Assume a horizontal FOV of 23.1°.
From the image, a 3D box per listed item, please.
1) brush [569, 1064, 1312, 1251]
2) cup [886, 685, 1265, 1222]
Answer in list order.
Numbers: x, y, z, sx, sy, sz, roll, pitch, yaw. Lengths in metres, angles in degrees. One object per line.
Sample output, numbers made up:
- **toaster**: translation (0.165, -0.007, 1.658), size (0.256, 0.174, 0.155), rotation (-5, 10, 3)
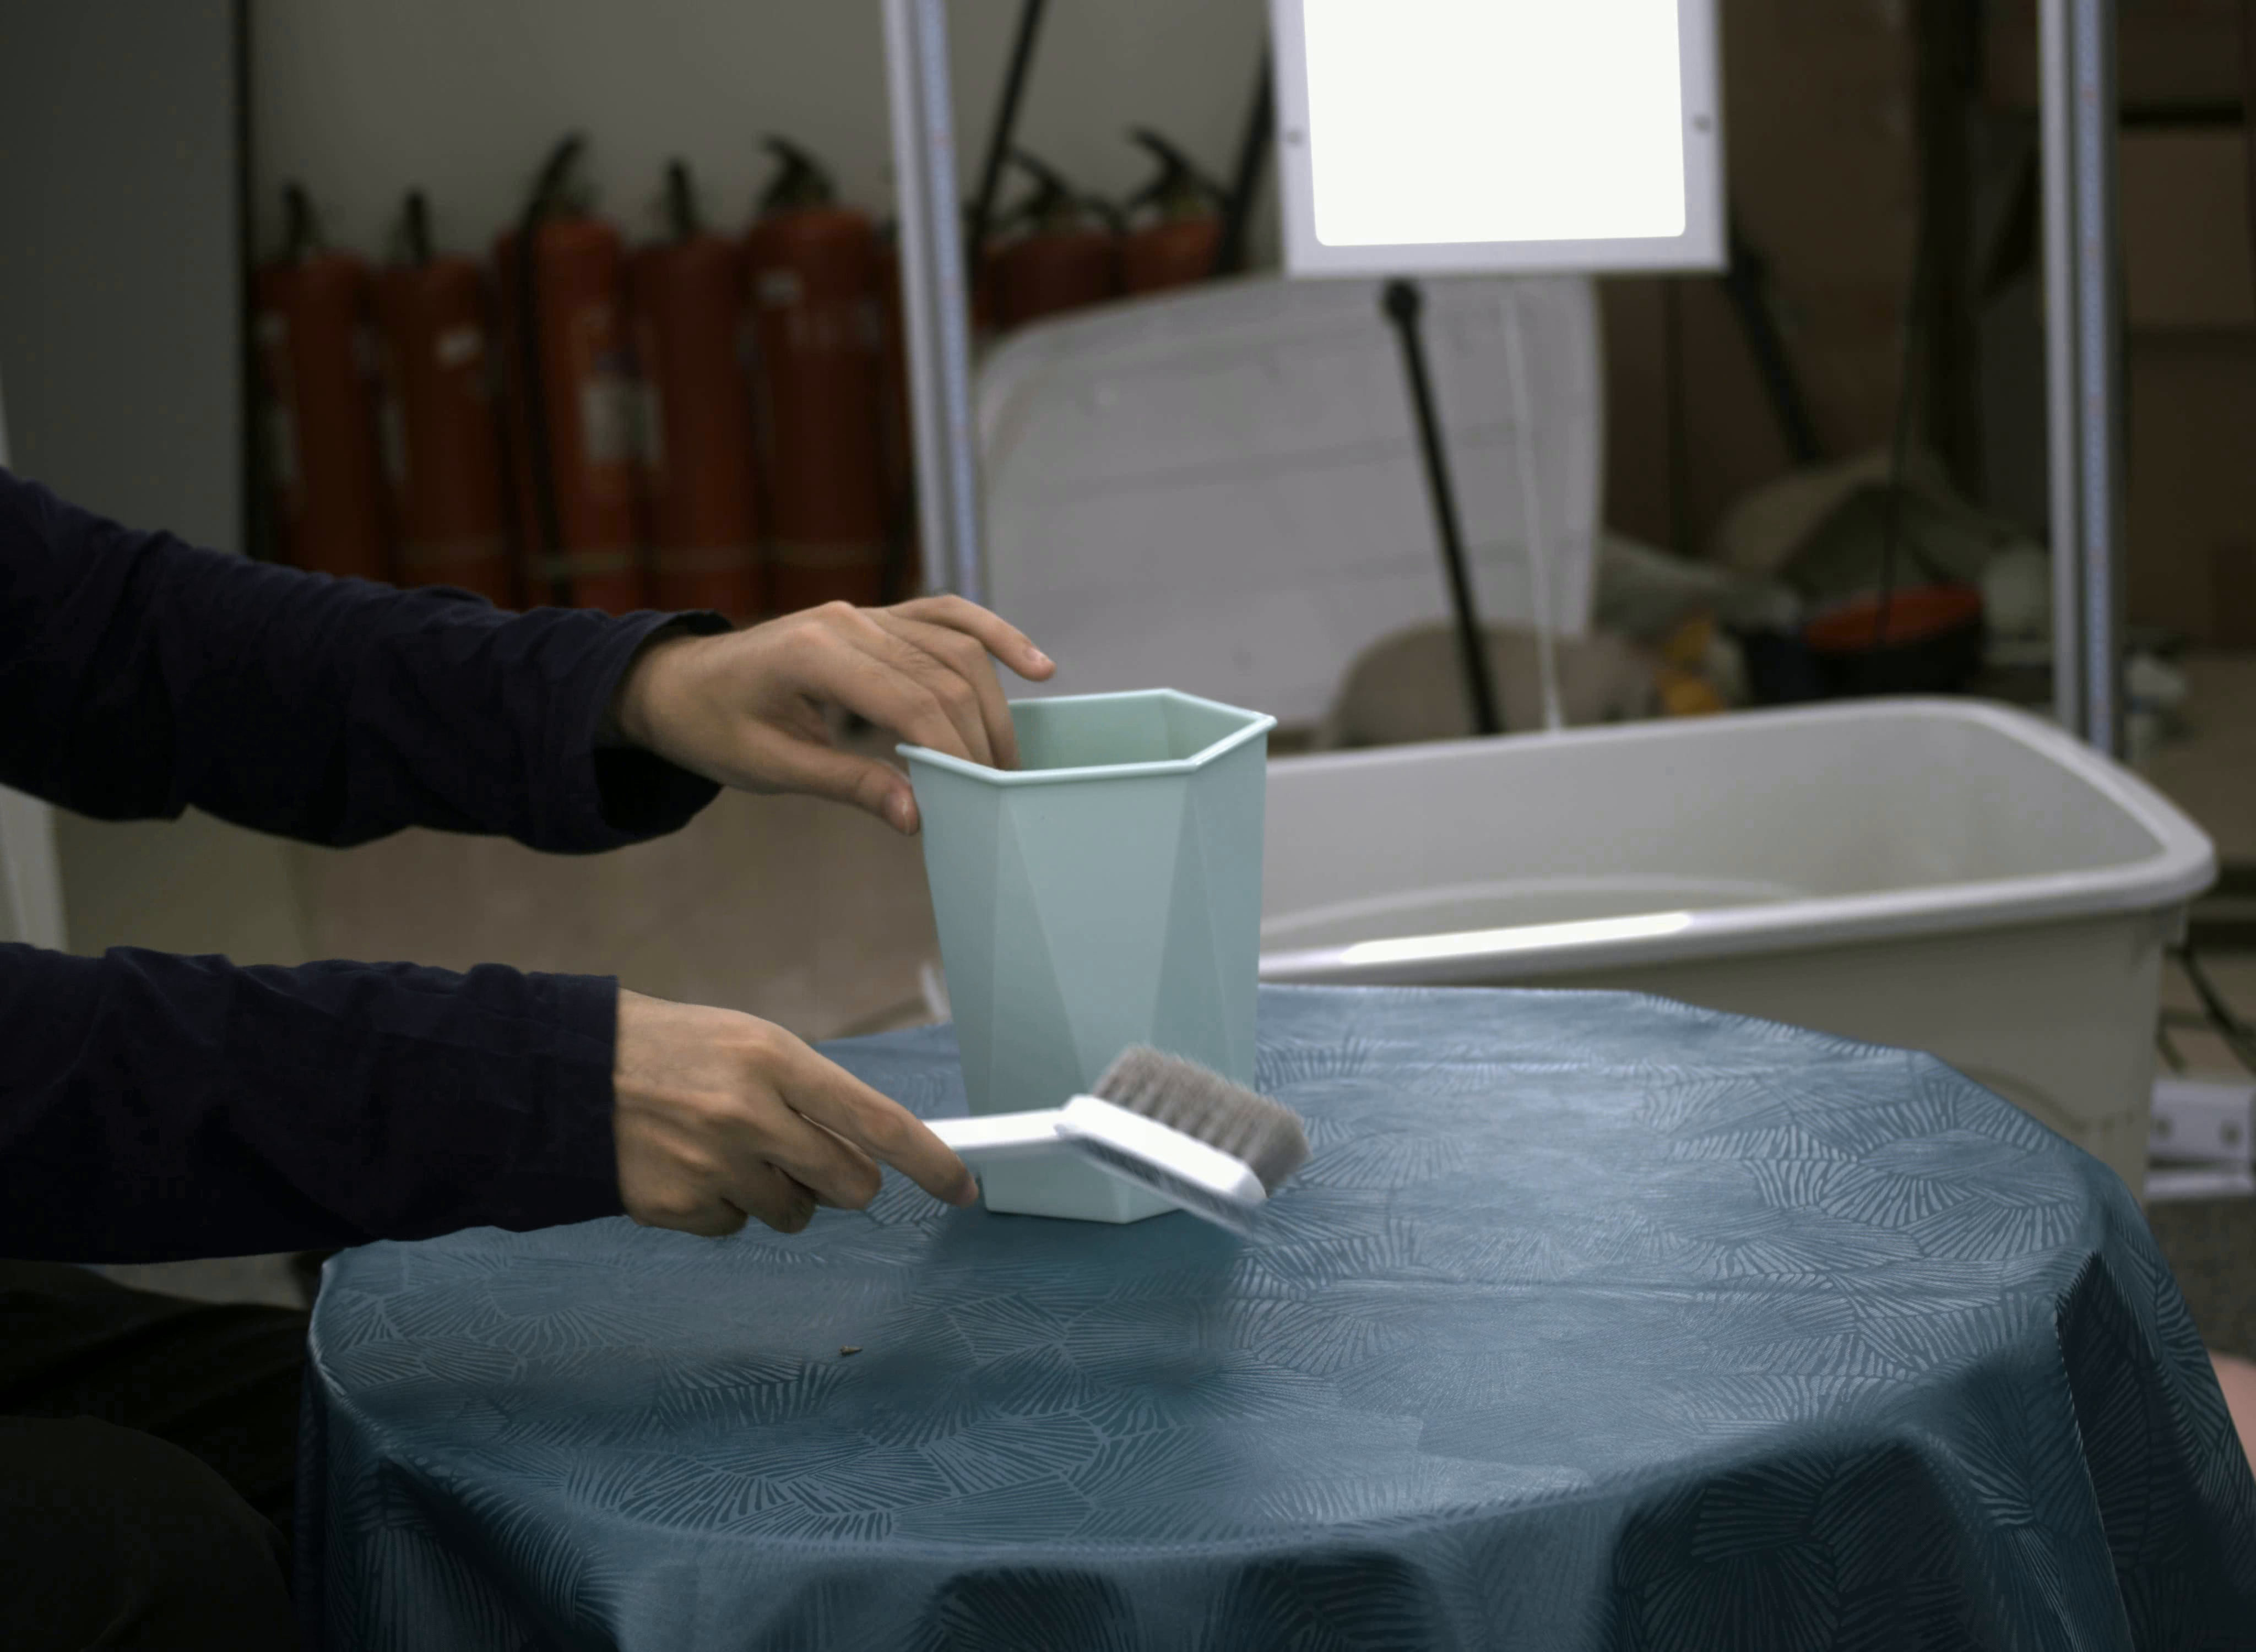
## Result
- **brush**: translation (-0.060, 0.092, 1.750), size (0.246, 0.050, 0.034), rotation (7, -17, 19)
- **cup**: translation (-0.010, 0.044, 1.895), size (0.112, 0.163, 0.133), rotation (-15, 16, -32)
